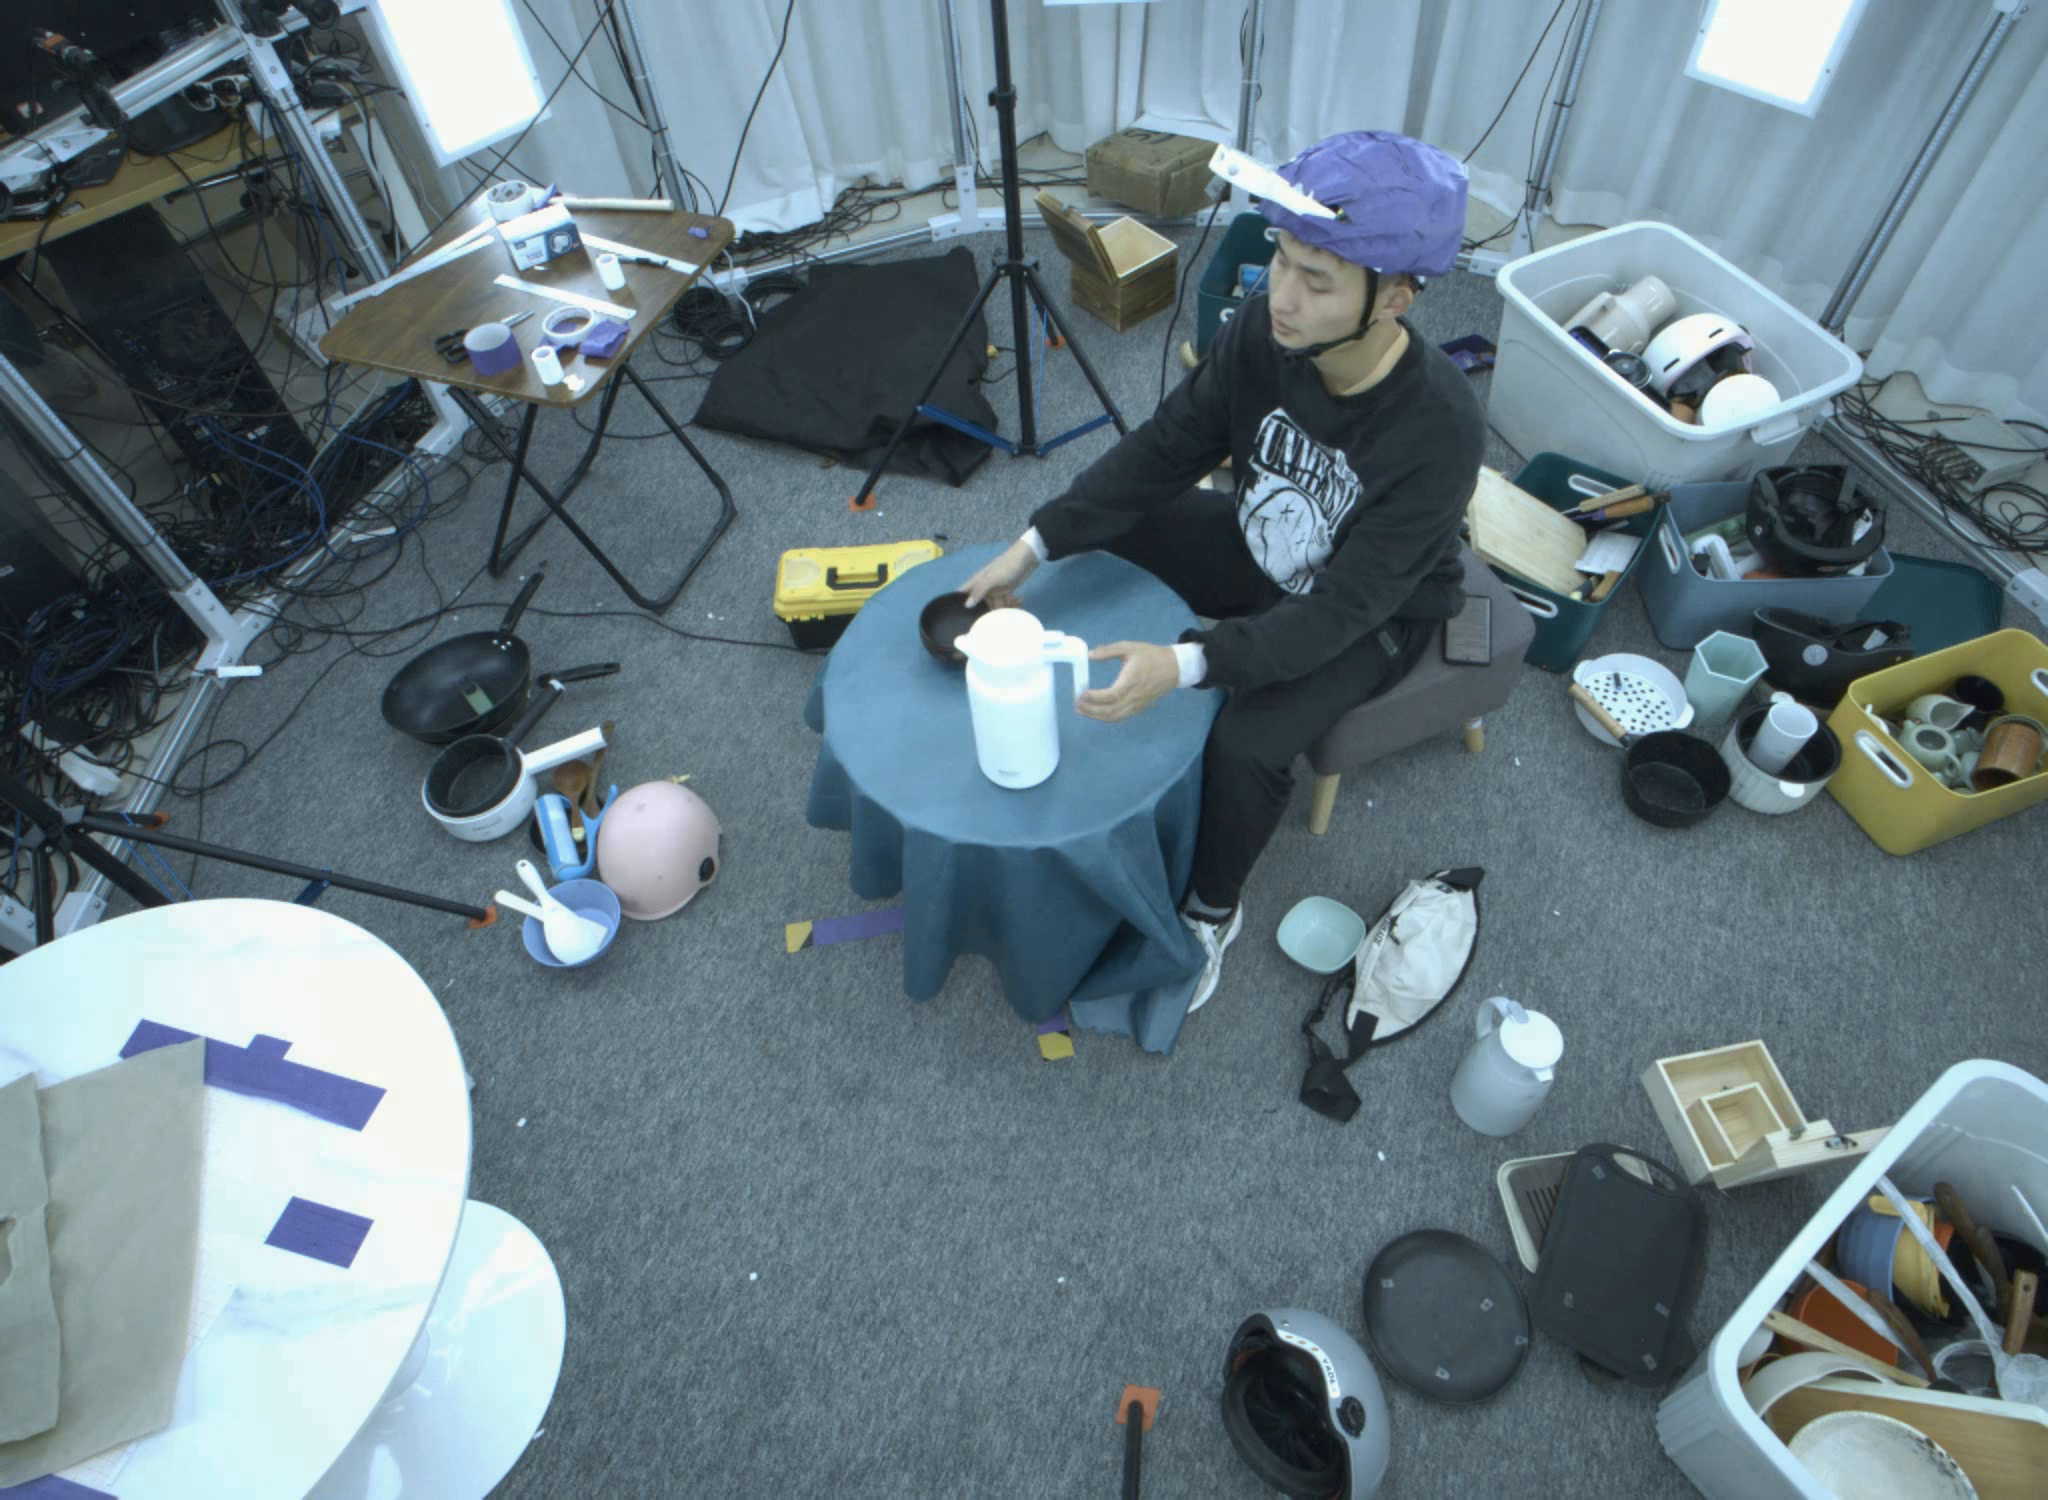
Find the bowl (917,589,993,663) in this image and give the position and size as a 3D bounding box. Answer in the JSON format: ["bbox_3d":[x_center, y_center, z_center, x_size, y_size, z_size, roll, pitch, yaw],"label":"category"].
[{"bbox_3d":[-0.103,-0.181,1.869,0.118,0.070,0.117,0,54,2],"label":"bowl"}]

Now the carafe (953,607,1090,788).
[{"bbox_3d":[0.002,-0.068,1.667,0.173,0.272,0.122,-2,52,2],"label":"carafe"}]
